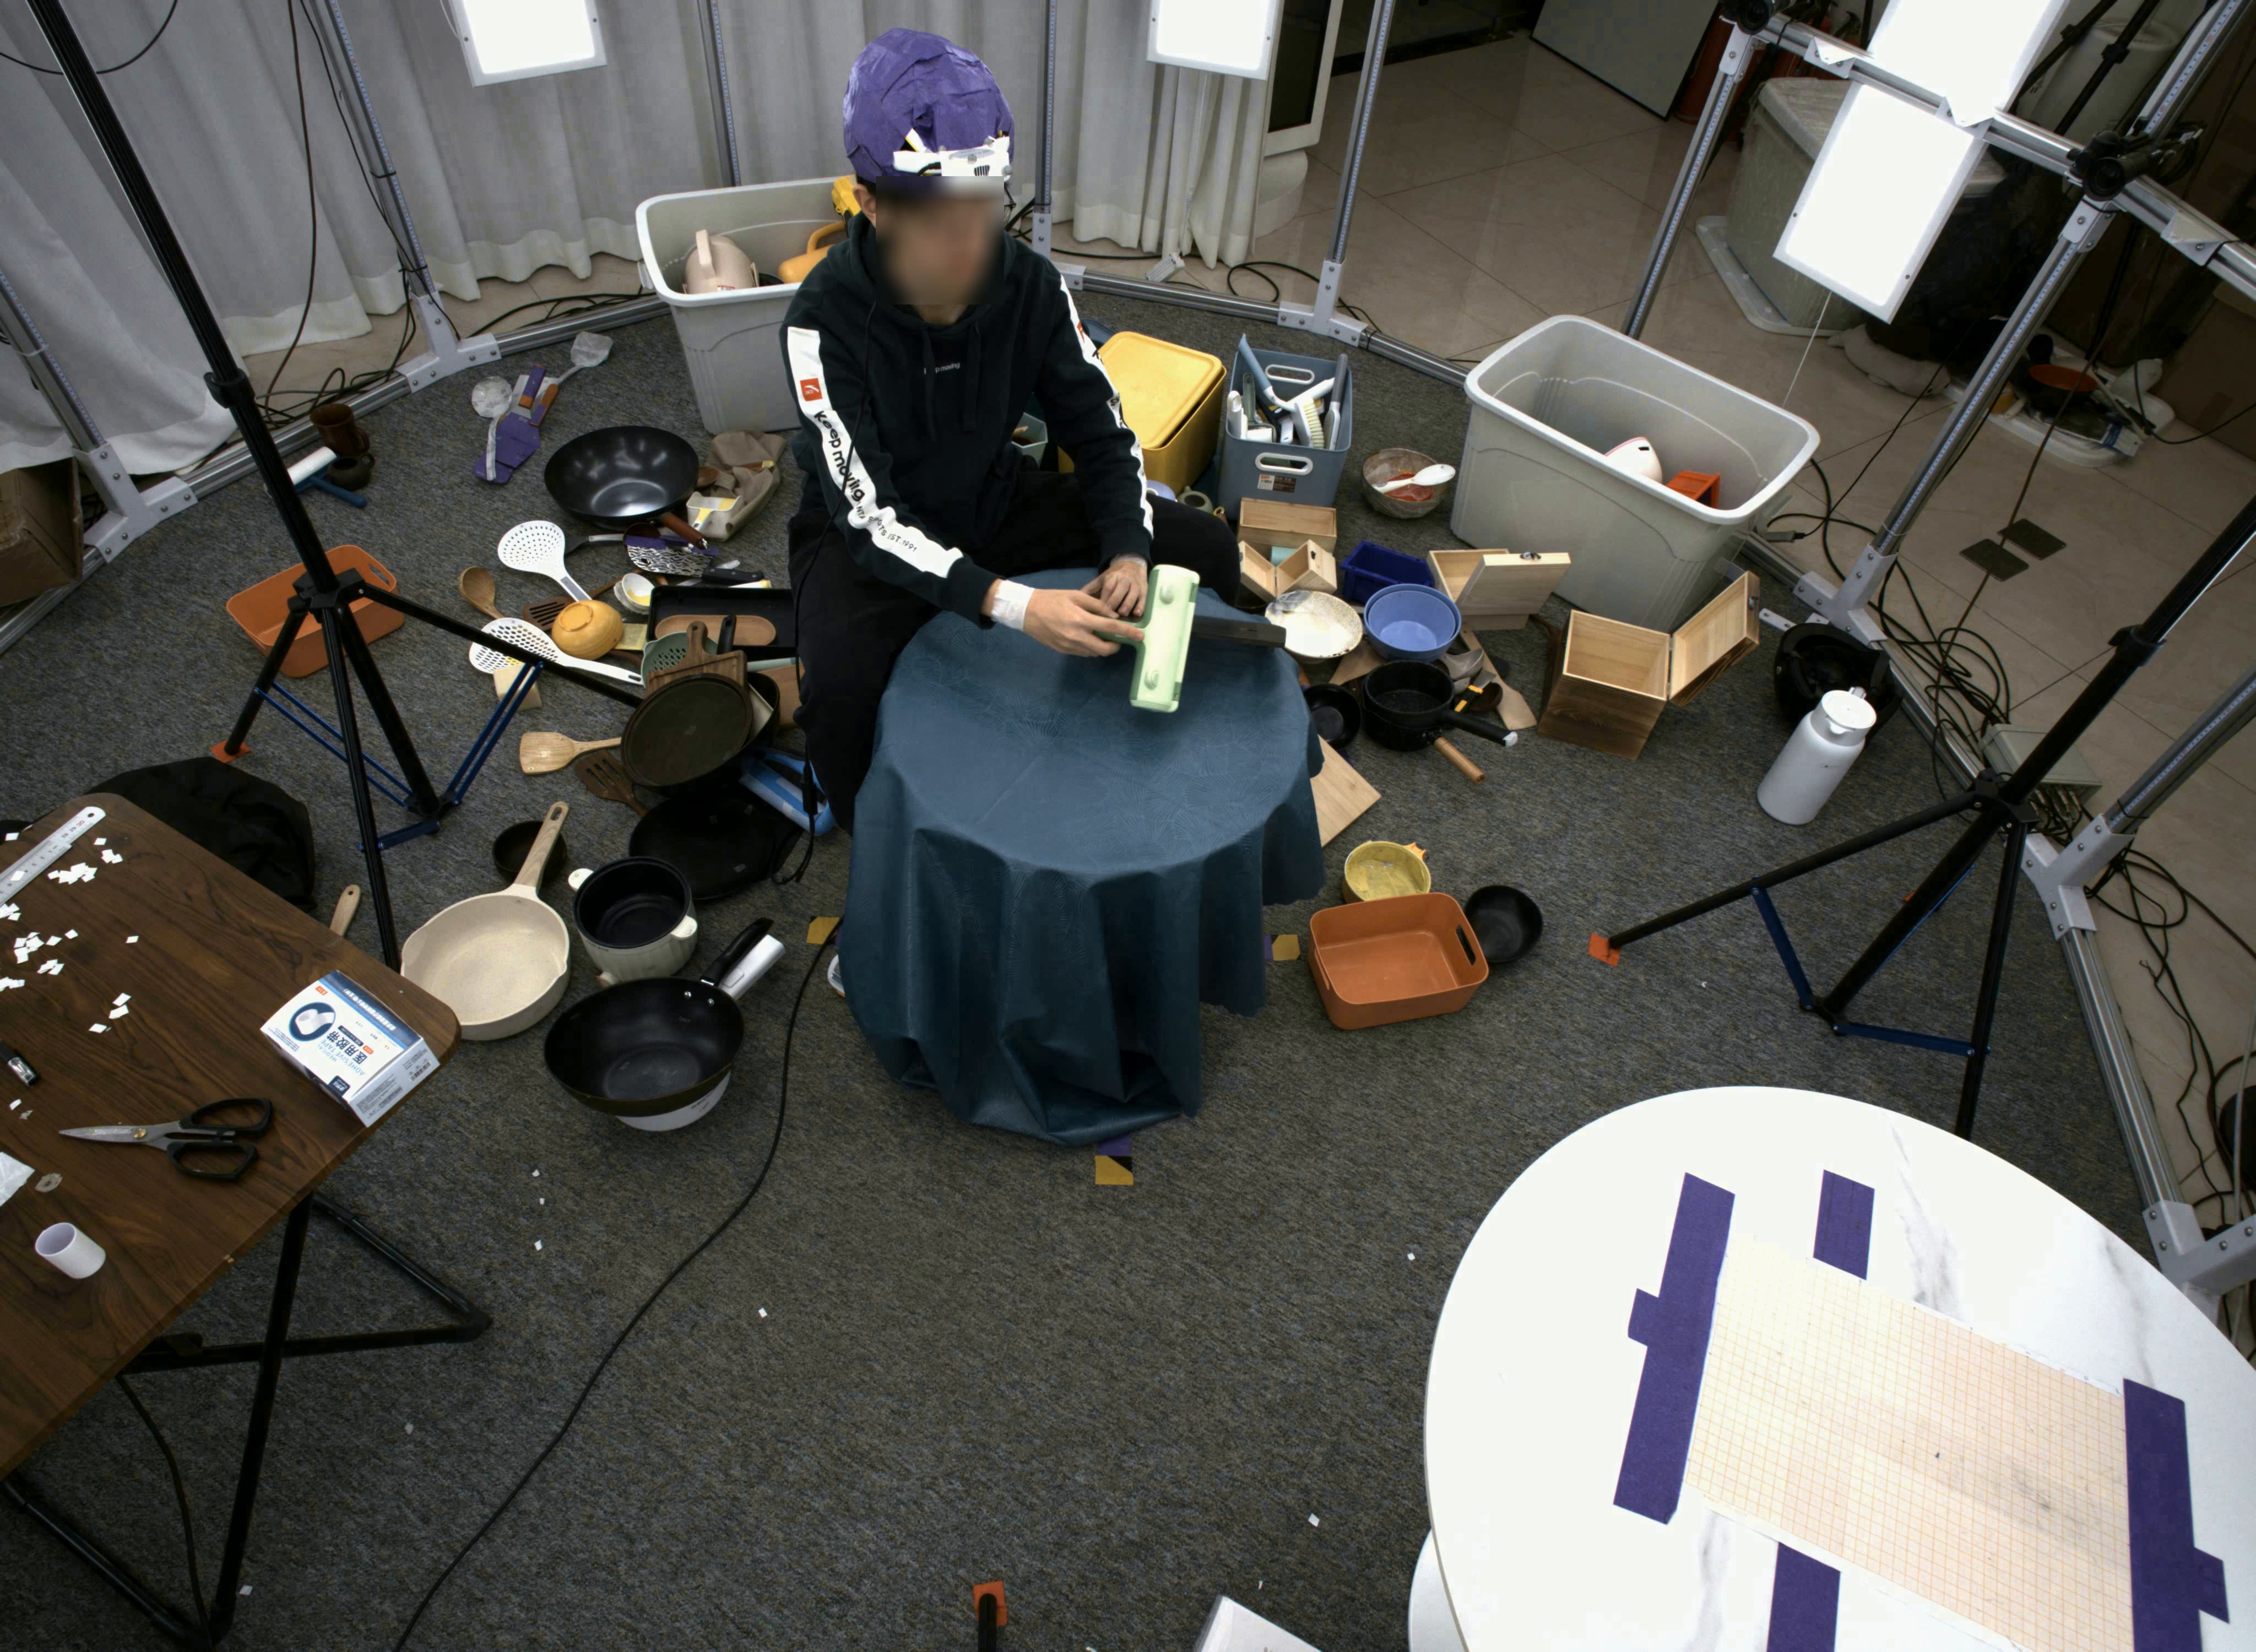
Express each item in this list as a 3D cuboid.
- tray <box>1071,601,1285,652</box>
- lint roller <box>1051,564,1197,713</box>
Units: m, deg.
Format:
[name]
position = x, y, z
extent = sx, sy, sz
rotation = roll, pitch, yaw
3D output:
[tray]
position = 0.072, -0.290, 1.863
extent = 0.306, 0.018, 0.172
rotation = 7, 17, 3
[lint roller]
position = -0.011, -0.263, 1.731
extent = 0.183, 0.082, 0.198
rotation = 10, 90, -6
